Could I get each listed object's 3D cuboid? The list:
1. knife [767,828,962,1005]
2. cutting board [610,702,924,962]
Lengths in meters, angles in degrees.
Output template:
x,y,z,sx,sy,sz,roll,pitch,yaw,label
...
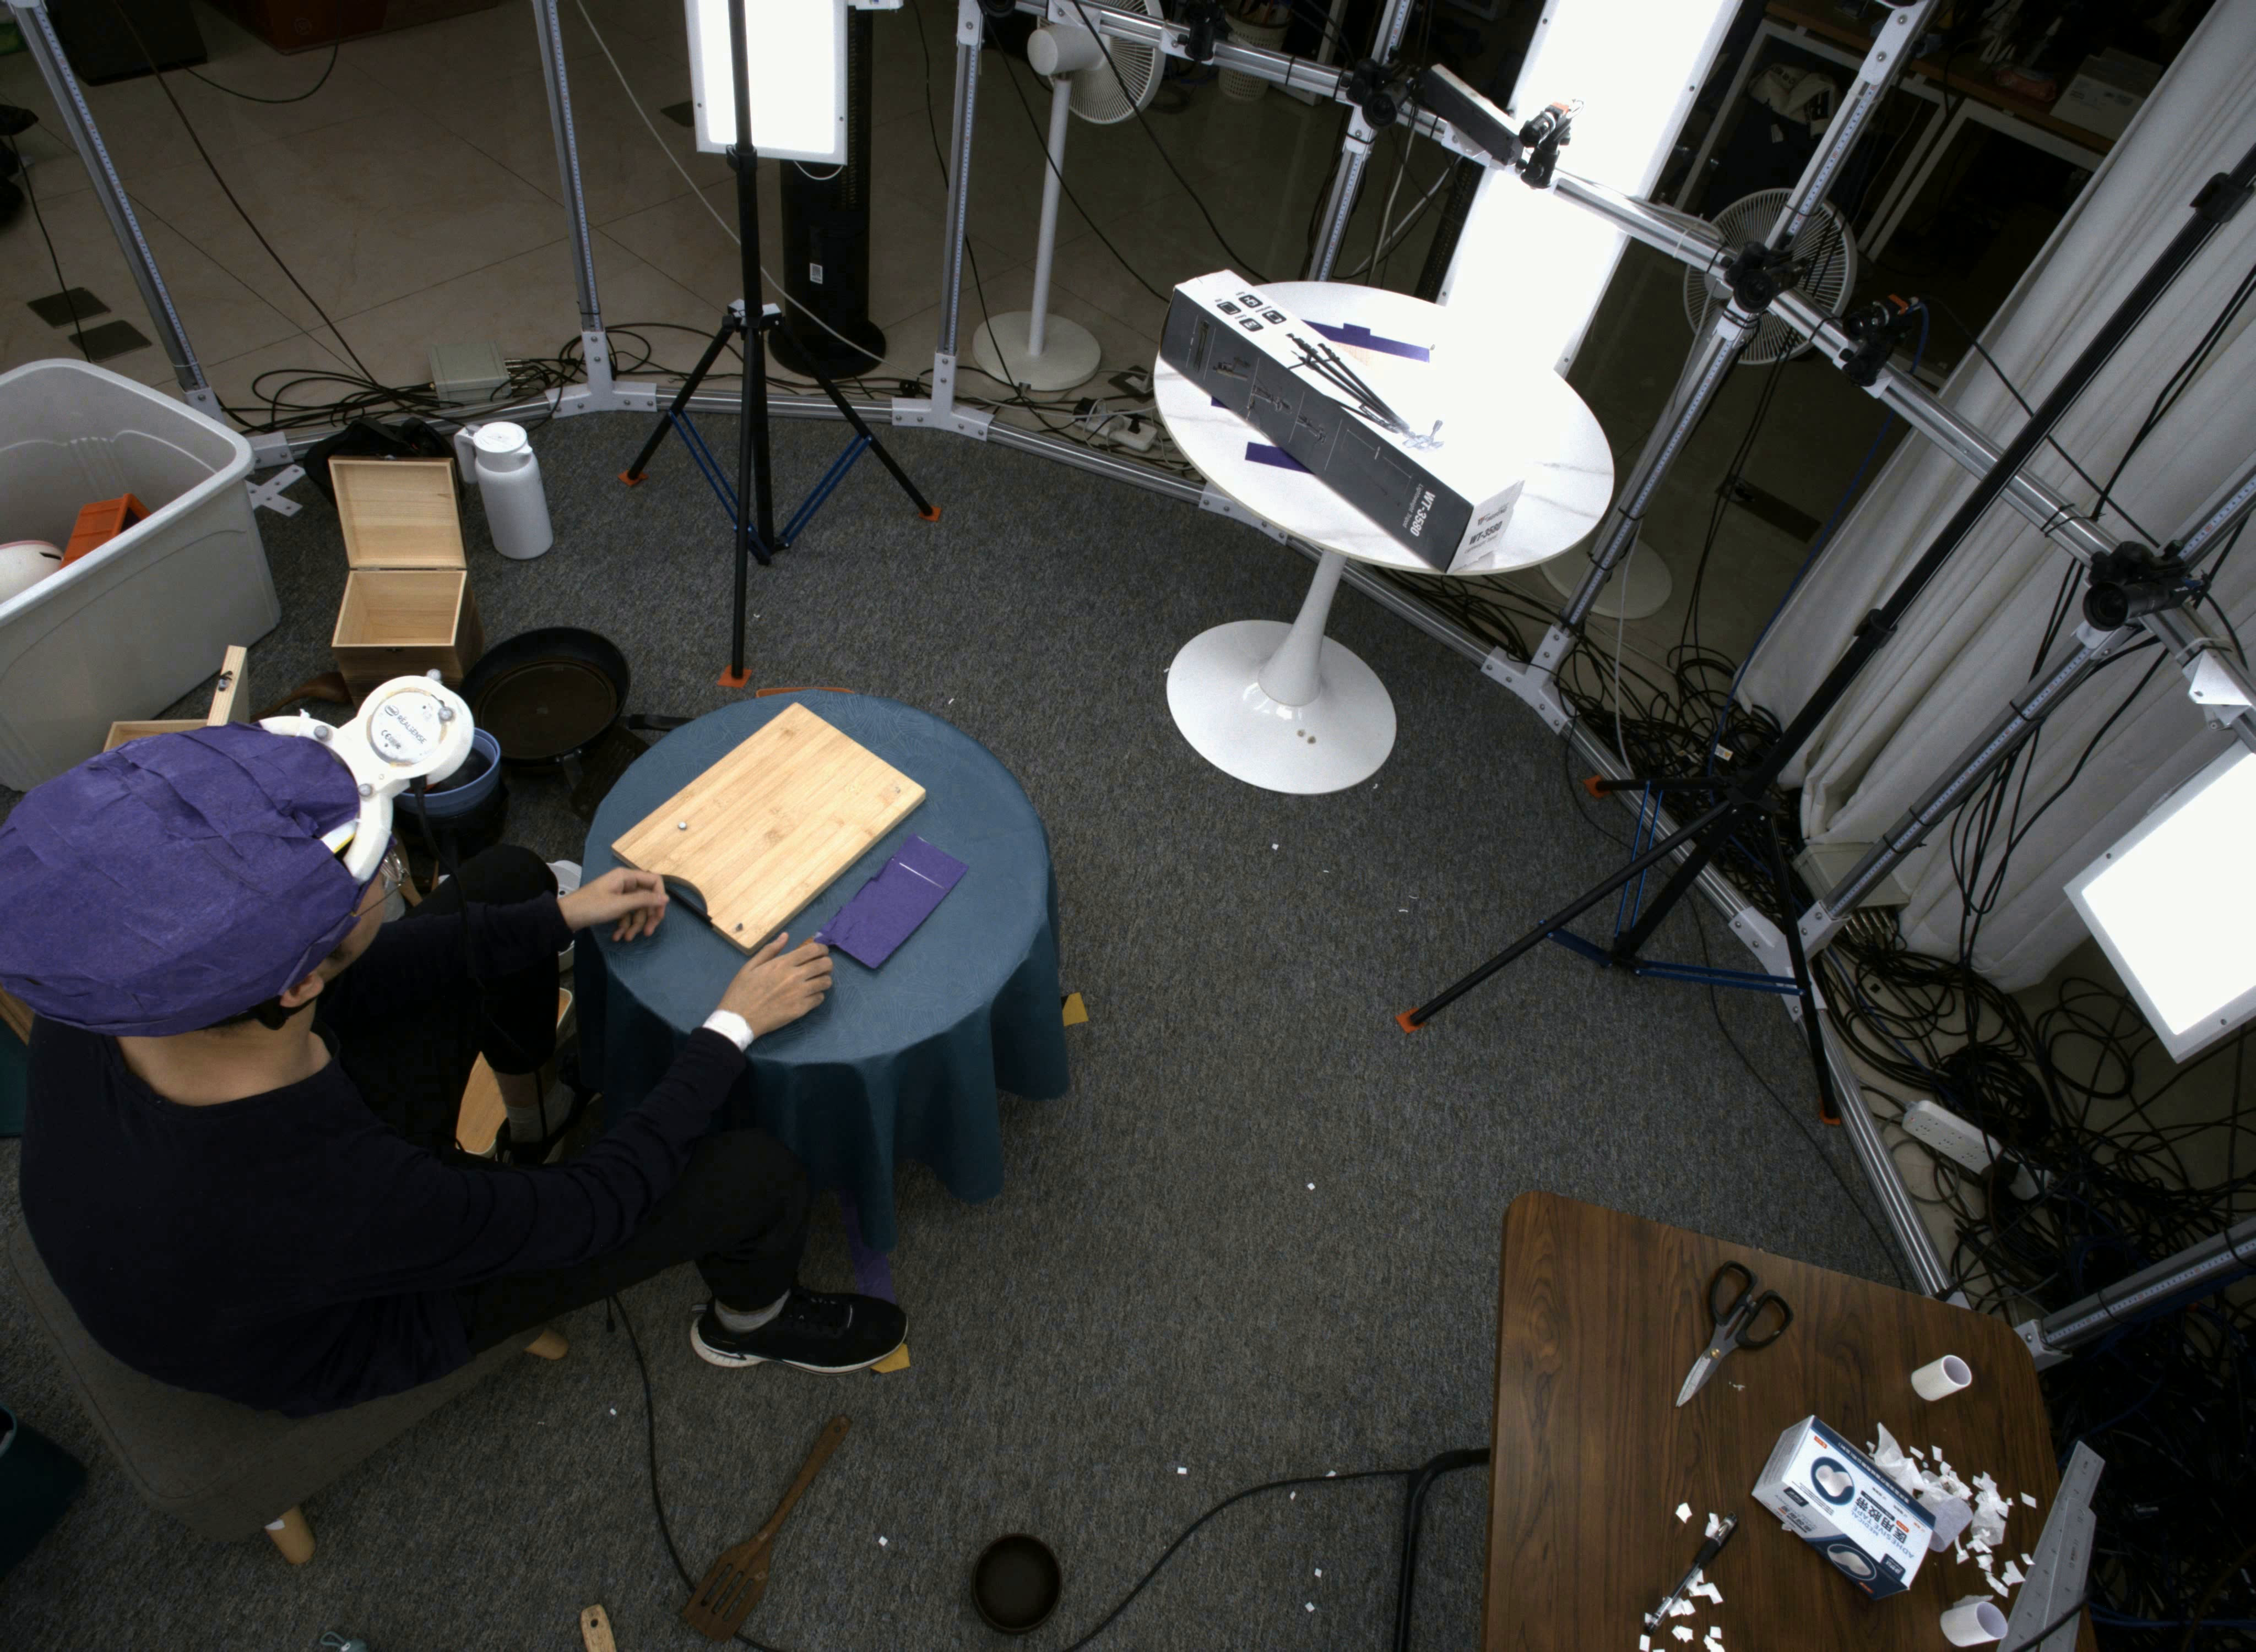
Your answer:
x,y,z,sx,sy,sz,roll,pitch,yaw,label
-0.326,0.120,1.654,0.102,0.033,0.314,30,52,9,knife
-0.471,-0.004,1.715,0.246,0.024,0.348,33,53,11,cutting board
